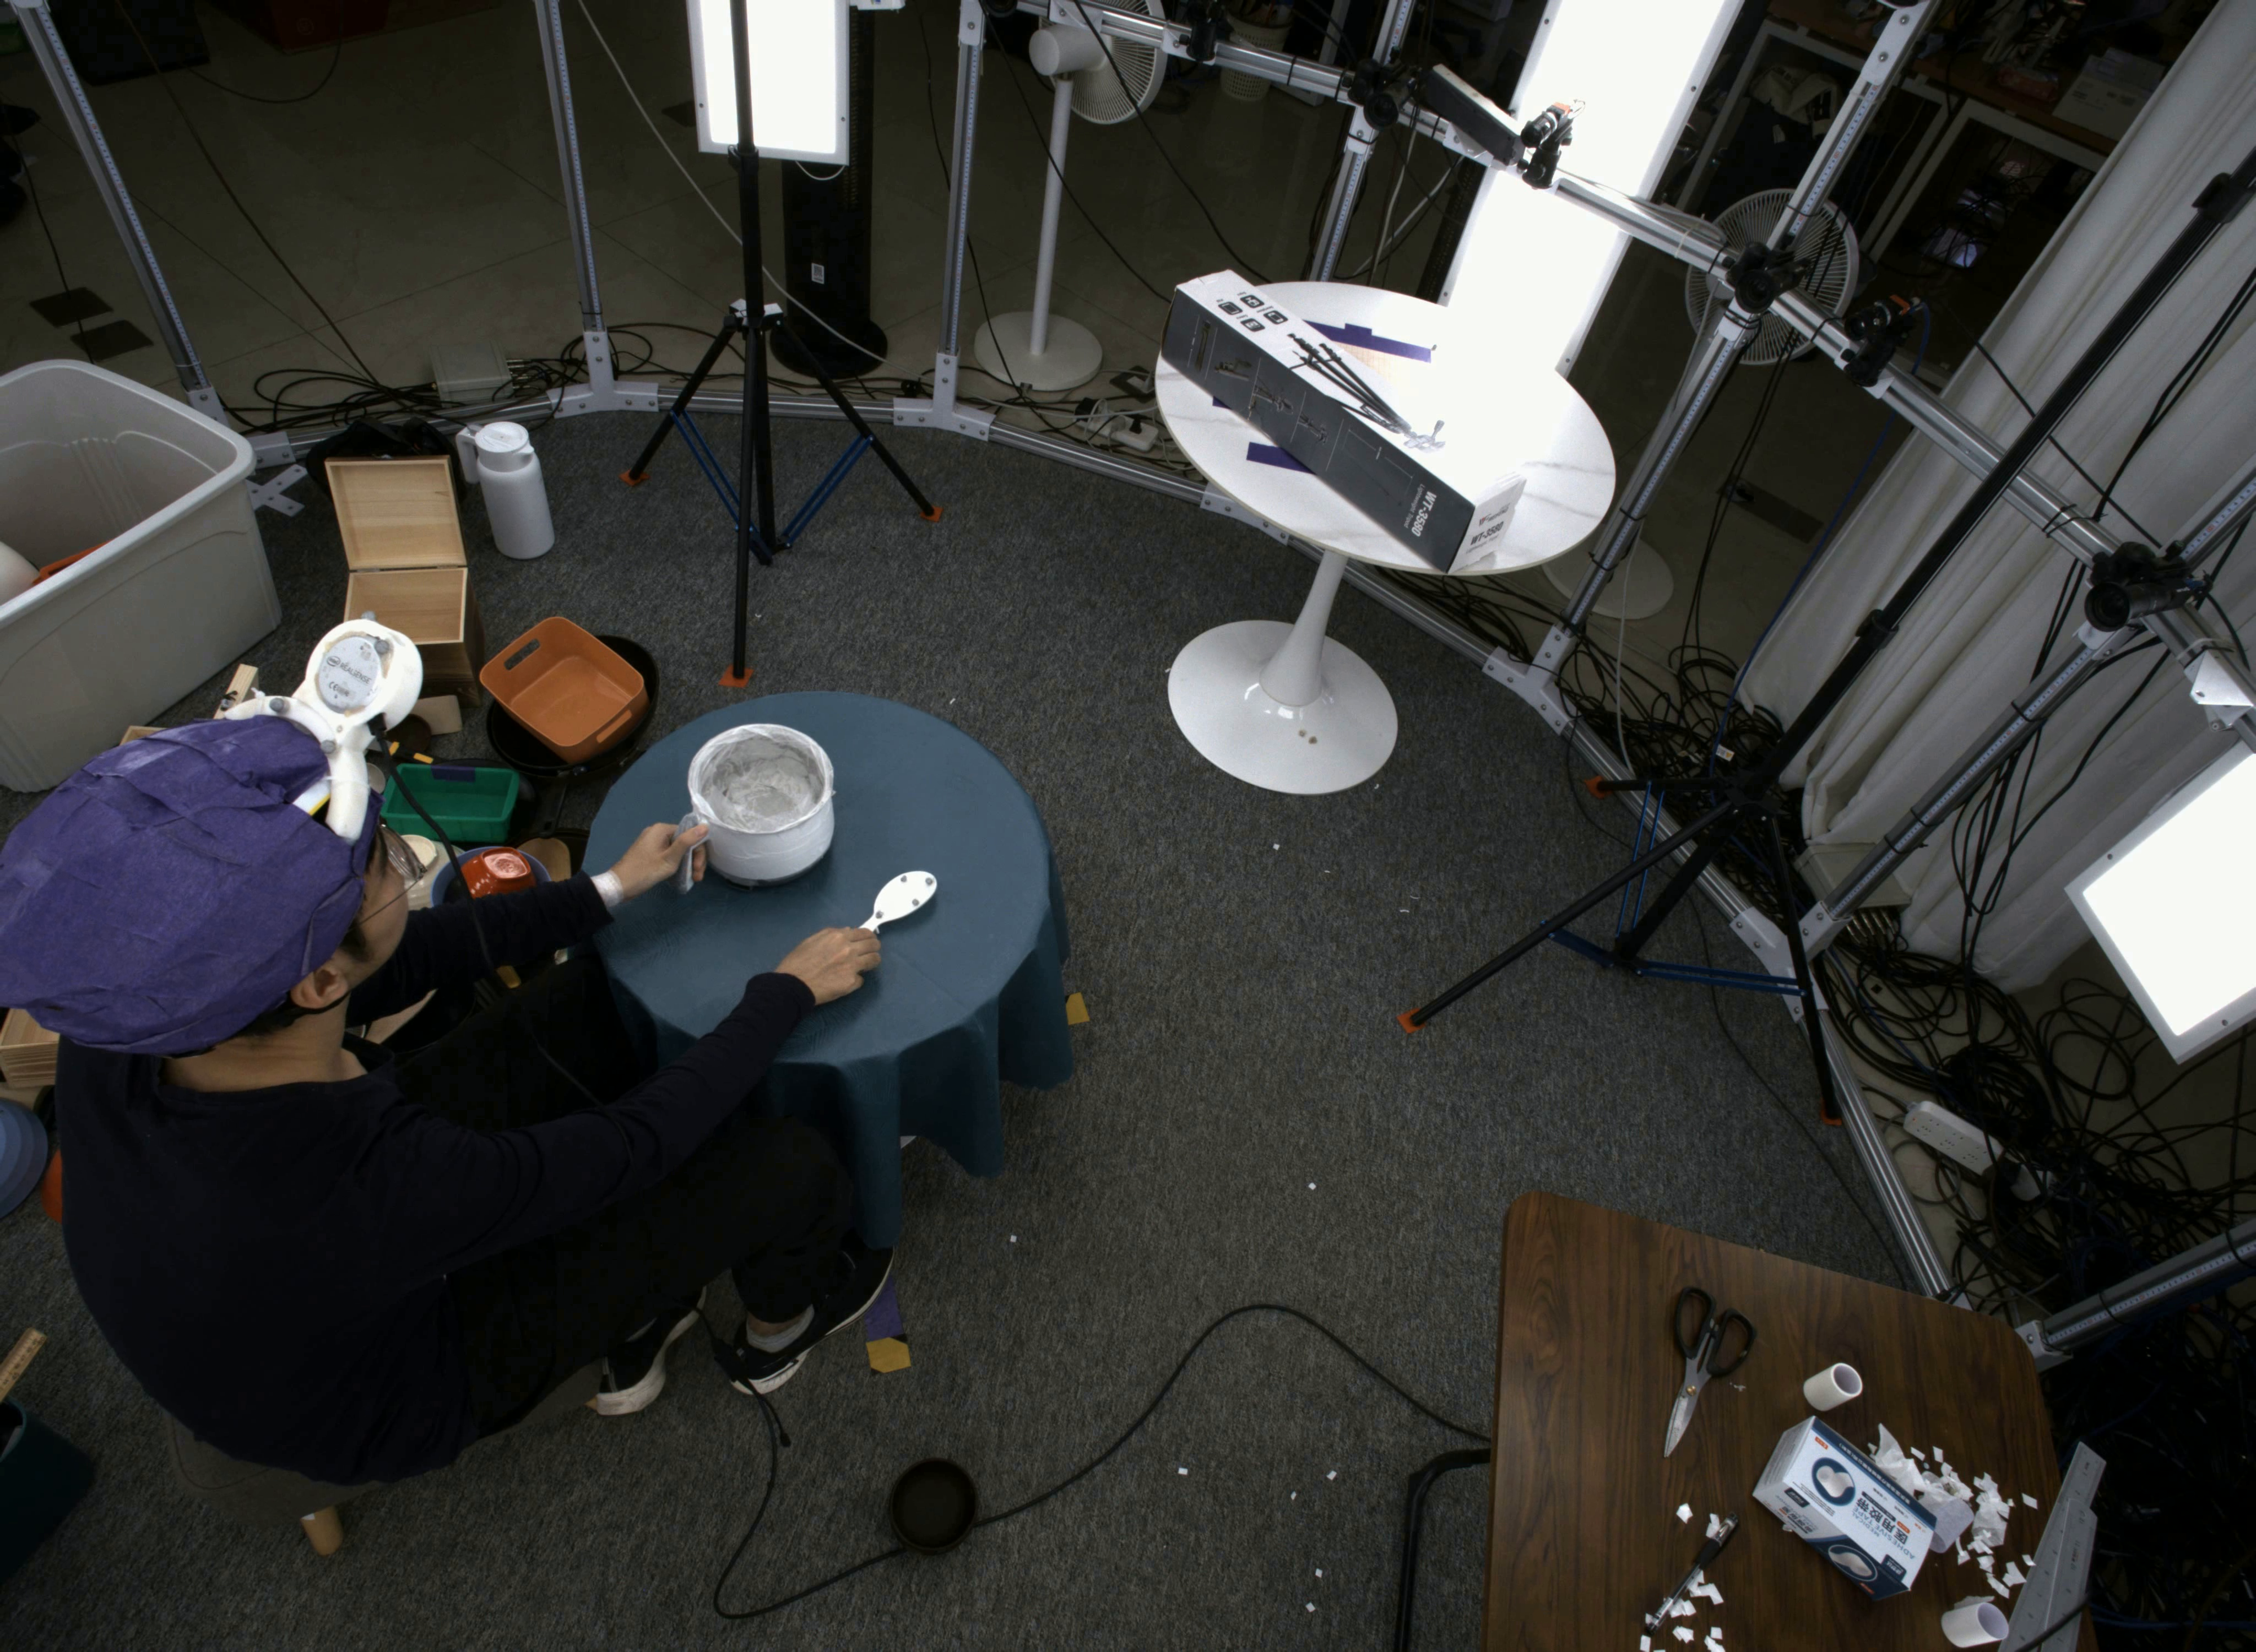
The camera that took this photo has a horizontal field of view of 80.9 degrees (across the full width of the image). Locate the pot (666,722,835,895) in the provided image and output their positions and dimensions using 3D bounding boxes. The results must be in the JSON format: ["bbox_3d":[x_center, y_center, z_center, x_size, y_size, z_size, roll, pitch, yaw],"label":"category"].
[{"bbox_3d":[-0.484,-0.010,1.638,0.174,0.140,0.234,38,54,18],"label":"pot"}]

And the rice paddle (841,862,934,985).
[{"bbox_3d":[-0.307,0.114,1.657,0.067,0.030,0.203,3,44,23],"label":"rice paddle"}]
